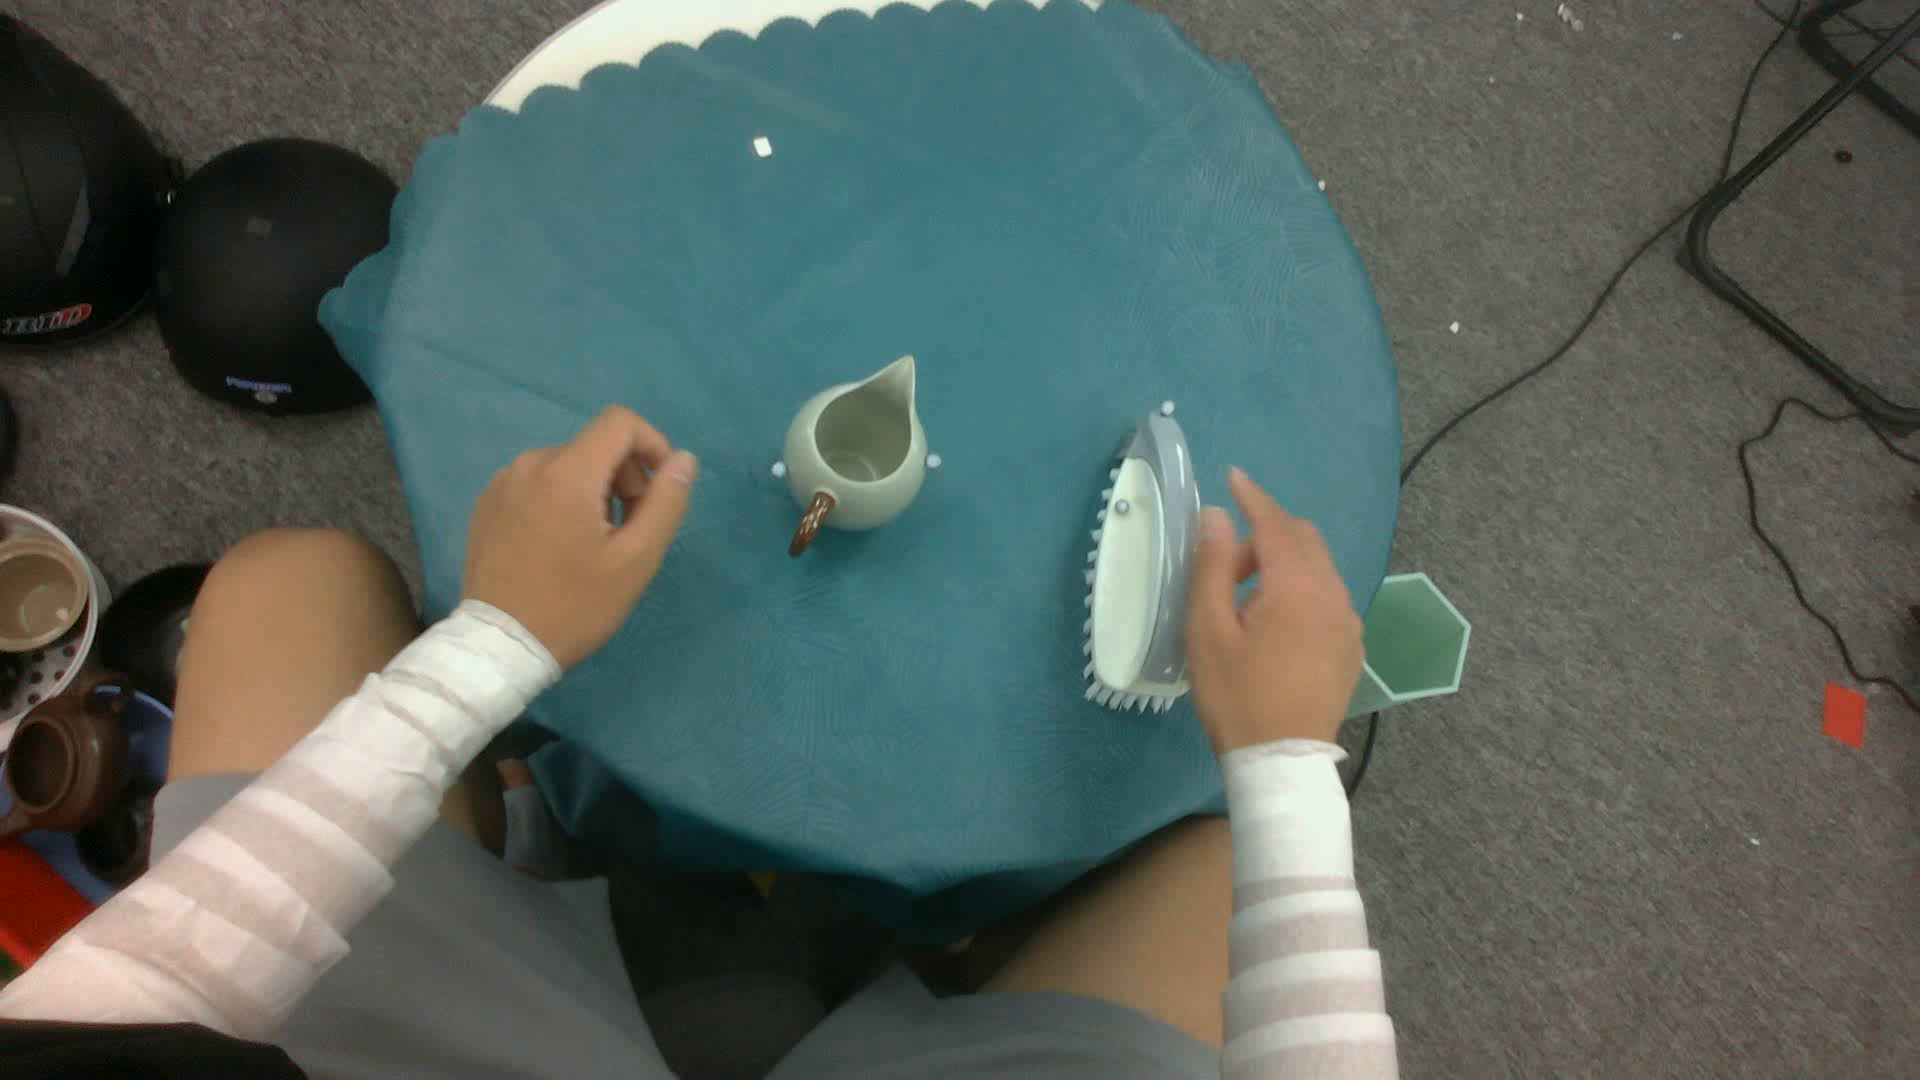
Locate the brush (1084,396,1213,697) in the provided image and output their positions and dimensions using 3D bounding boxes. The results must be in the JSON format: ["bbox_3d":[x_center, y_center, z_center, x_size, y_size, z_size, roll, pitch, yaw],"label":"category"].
[{"bbox_3d":[0.110,-0.009,0.758,0.061,0.094,0.176,11,67,-9],"label":"brush"}]

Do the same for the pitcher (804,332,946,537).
[{"bbox_3d":[-0.050,-0.046,0.741,0.076,0.087,0.119,29,68,3],"label":"pitcher"}]
